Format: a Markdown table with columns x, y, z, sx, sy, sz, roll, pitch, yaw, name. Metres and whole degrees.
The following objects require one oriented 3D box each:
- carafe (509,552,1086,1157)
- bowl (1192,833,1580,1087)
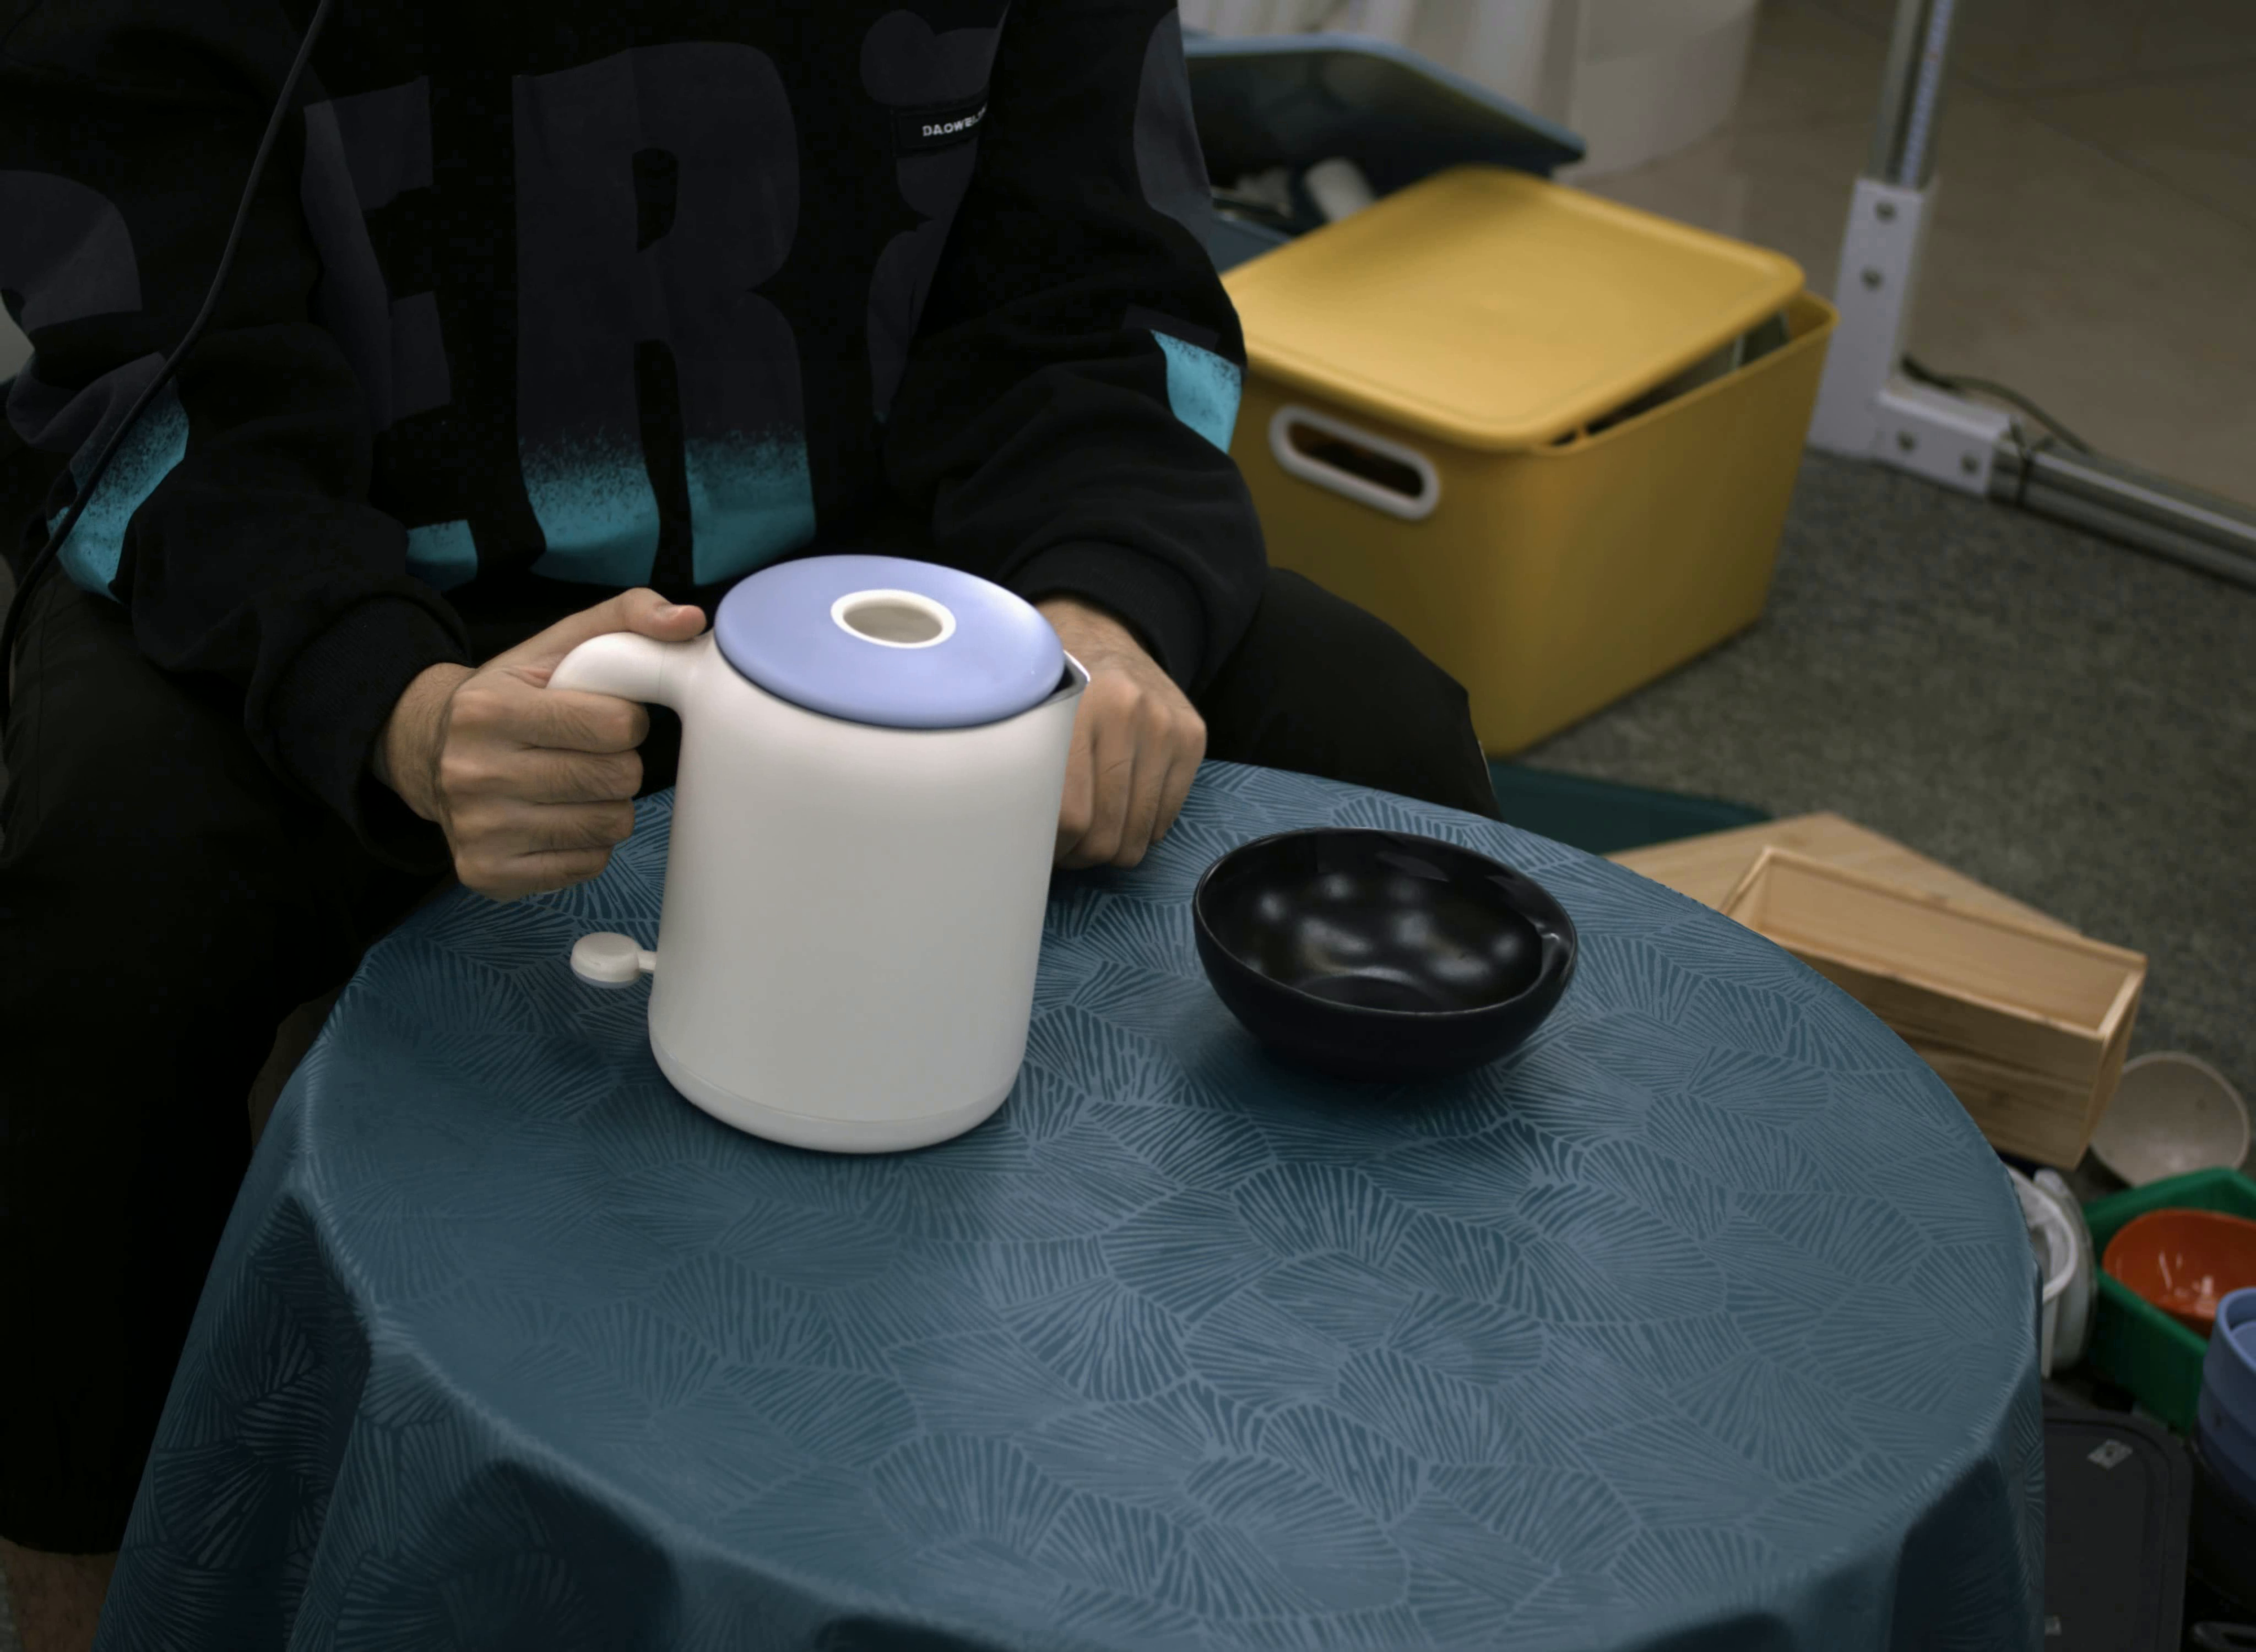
| x | y | z | sx | sy | sz | roll | pitch | yaw | name |
| --- | --- | --- | --- | --- | --- | --- | --- | --- | --- |
| -0.115 | 0.006 | 1.813 | 0.190 | 0.182 | 0.133 | 6 | 26 | 2 | carafe |
| 0.090 | 0.055 | 1.901 | 0.139 | 0.049 | 0.141 | 4 | 26 | -2 | bowl |
